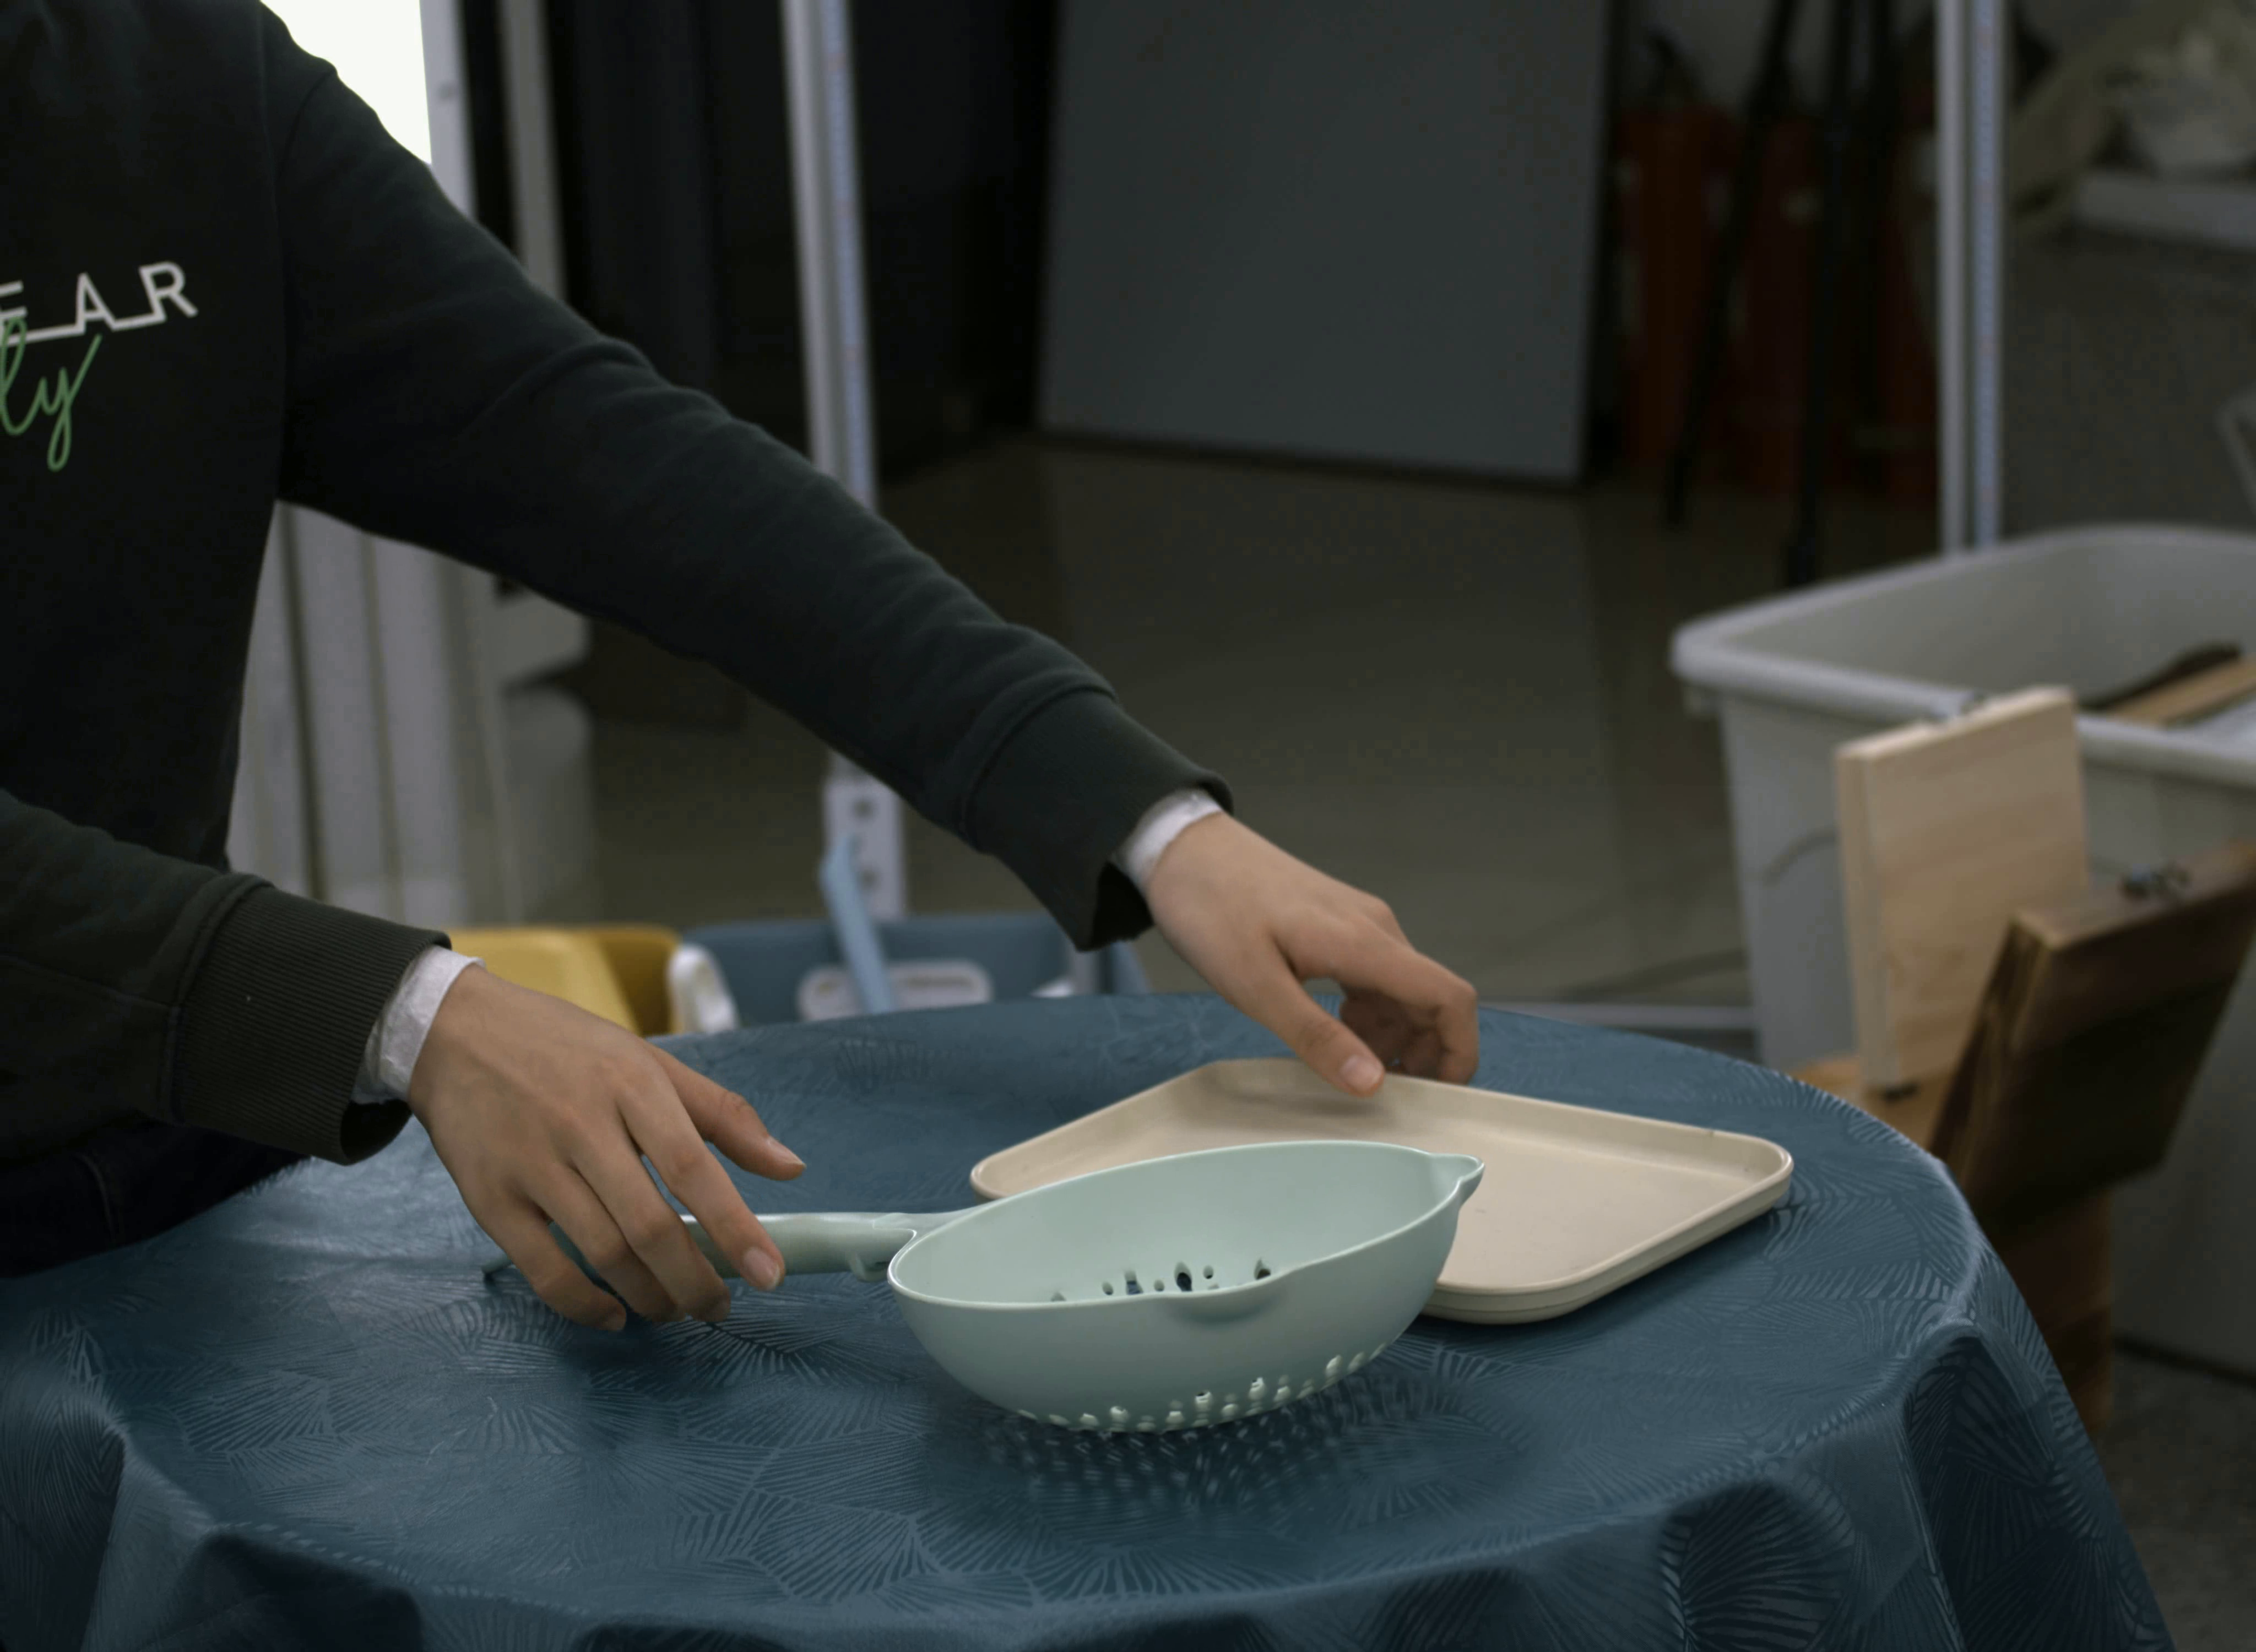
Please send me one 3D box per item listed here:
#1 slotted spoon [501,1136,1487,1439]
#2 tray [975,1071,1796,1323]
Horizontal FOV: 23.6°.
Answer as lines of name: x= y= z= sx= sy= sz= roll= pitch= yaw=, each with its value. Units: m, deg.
slotted spoon: x=-0.059 y=0.131 z=1.618 sx=0.361 sy=0.076 sz=0.166 roll=6 pitch=16 yaw=37
tray: x=0.082 y=0.118 z=1.727 sx=0.241 sy=0.017 sz=0.168 roll=6 pitch=17 yaw=39
